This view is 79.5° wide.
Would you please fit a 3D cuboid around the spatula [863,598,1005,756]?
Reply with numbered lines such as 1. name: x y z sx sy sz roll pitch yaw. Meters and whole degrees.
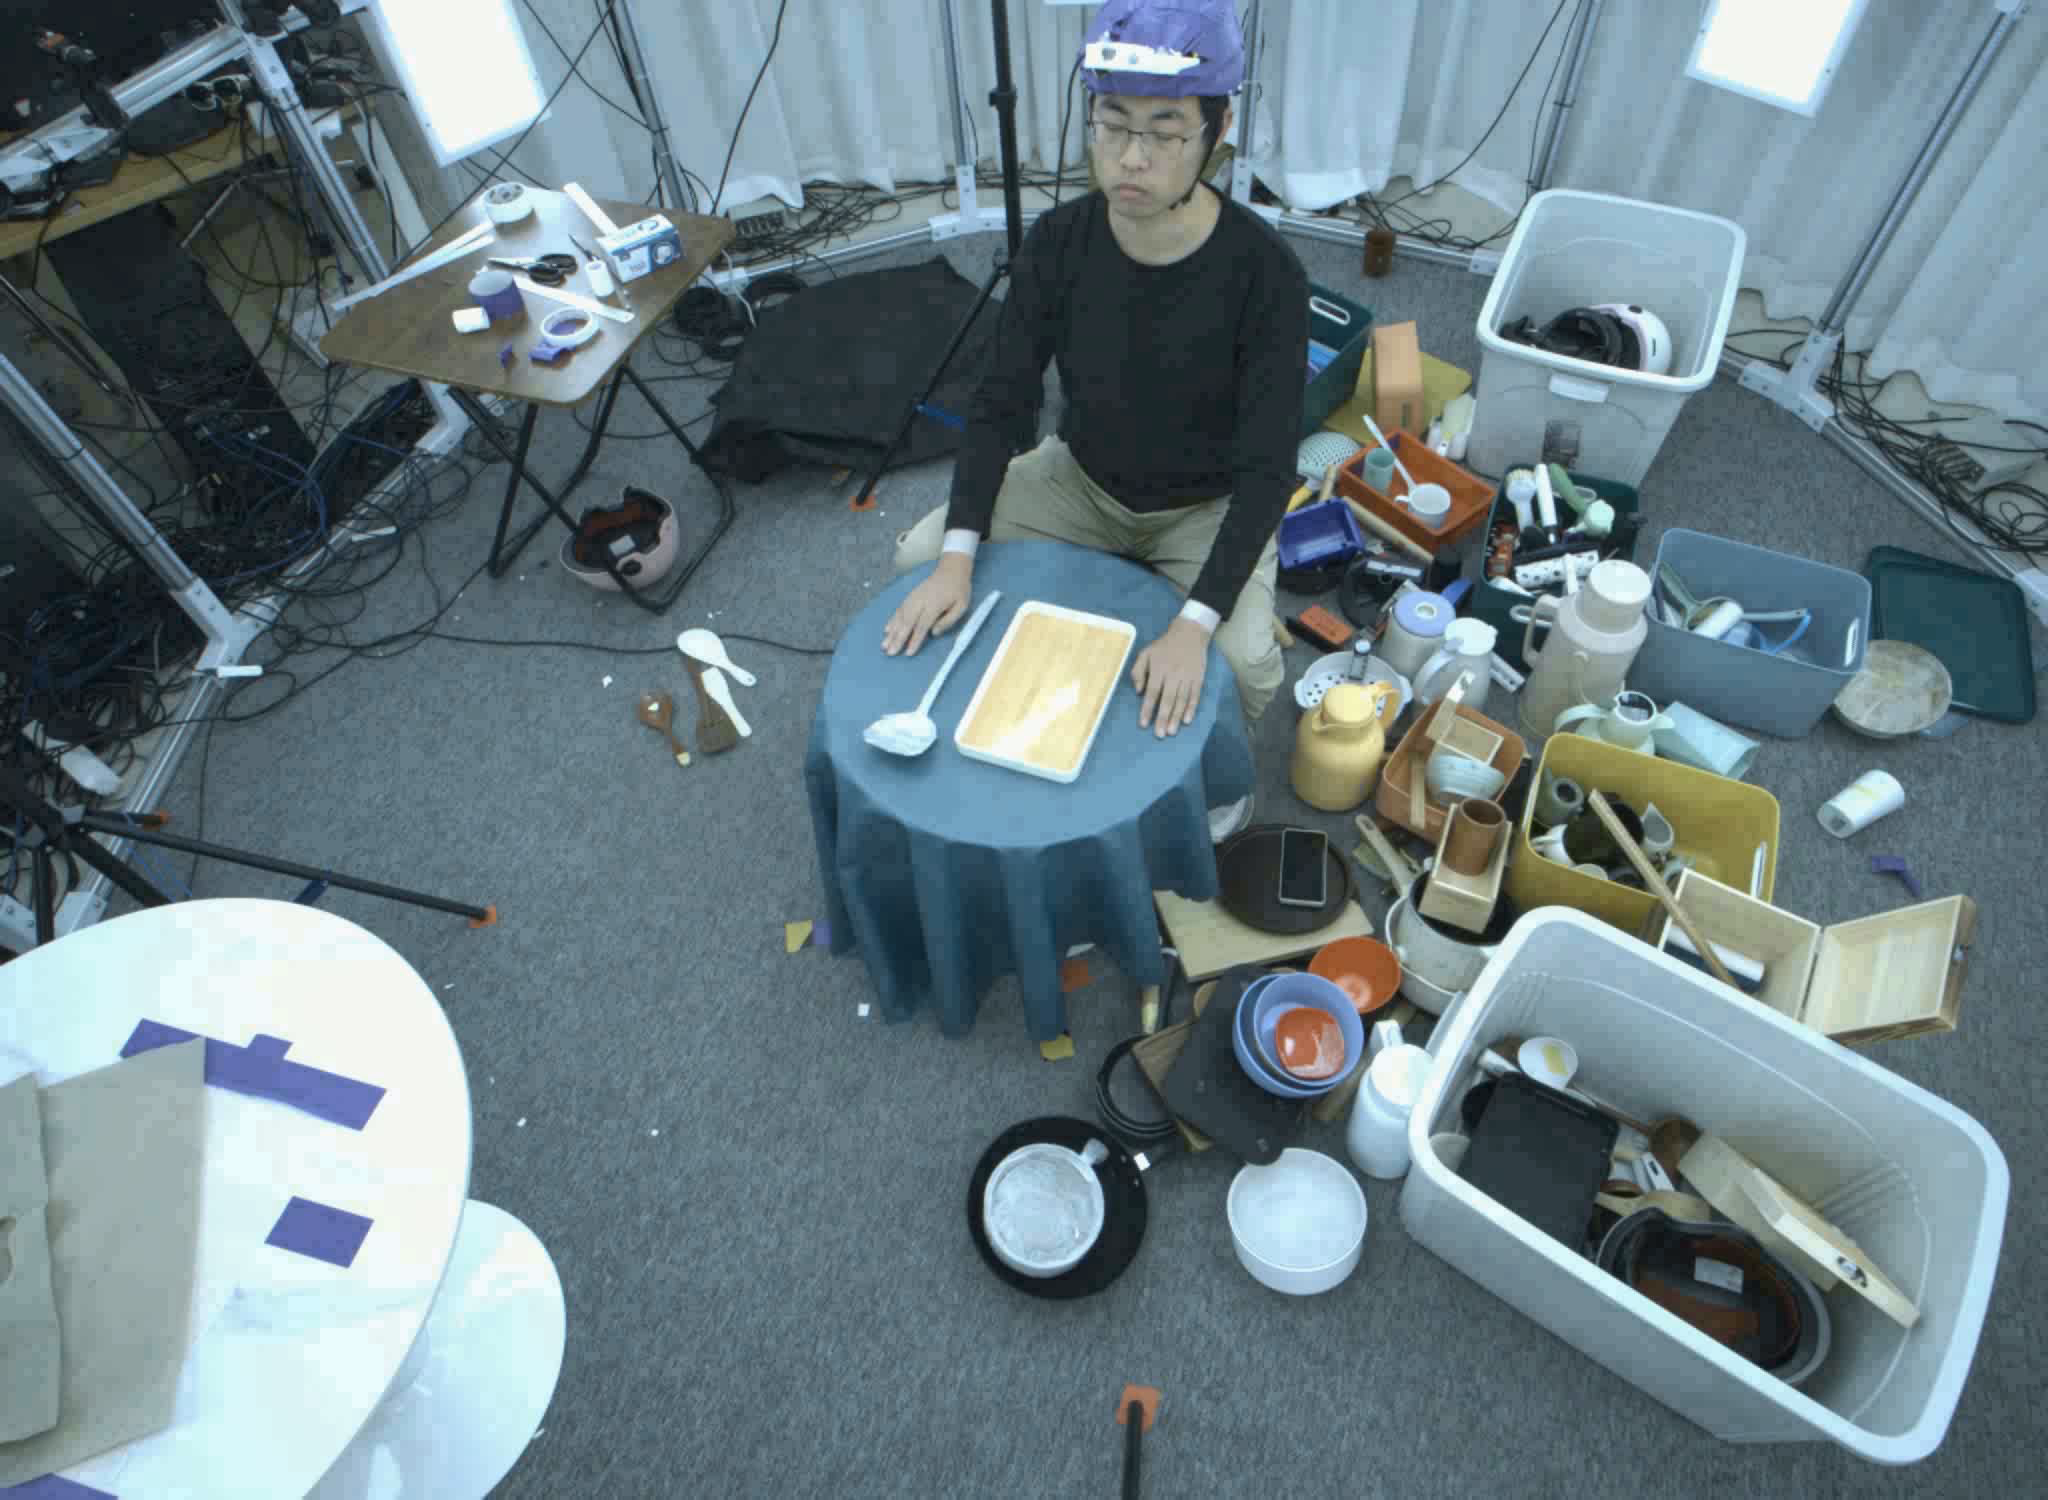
1. spatula: -0.119 -0.123 1.855 0.097 0.045 0.365 19 58 16

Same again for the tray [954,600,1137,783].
1. tray: 0.036 -0.094 1.836 0.189 0.028 0.300 17 57 13
